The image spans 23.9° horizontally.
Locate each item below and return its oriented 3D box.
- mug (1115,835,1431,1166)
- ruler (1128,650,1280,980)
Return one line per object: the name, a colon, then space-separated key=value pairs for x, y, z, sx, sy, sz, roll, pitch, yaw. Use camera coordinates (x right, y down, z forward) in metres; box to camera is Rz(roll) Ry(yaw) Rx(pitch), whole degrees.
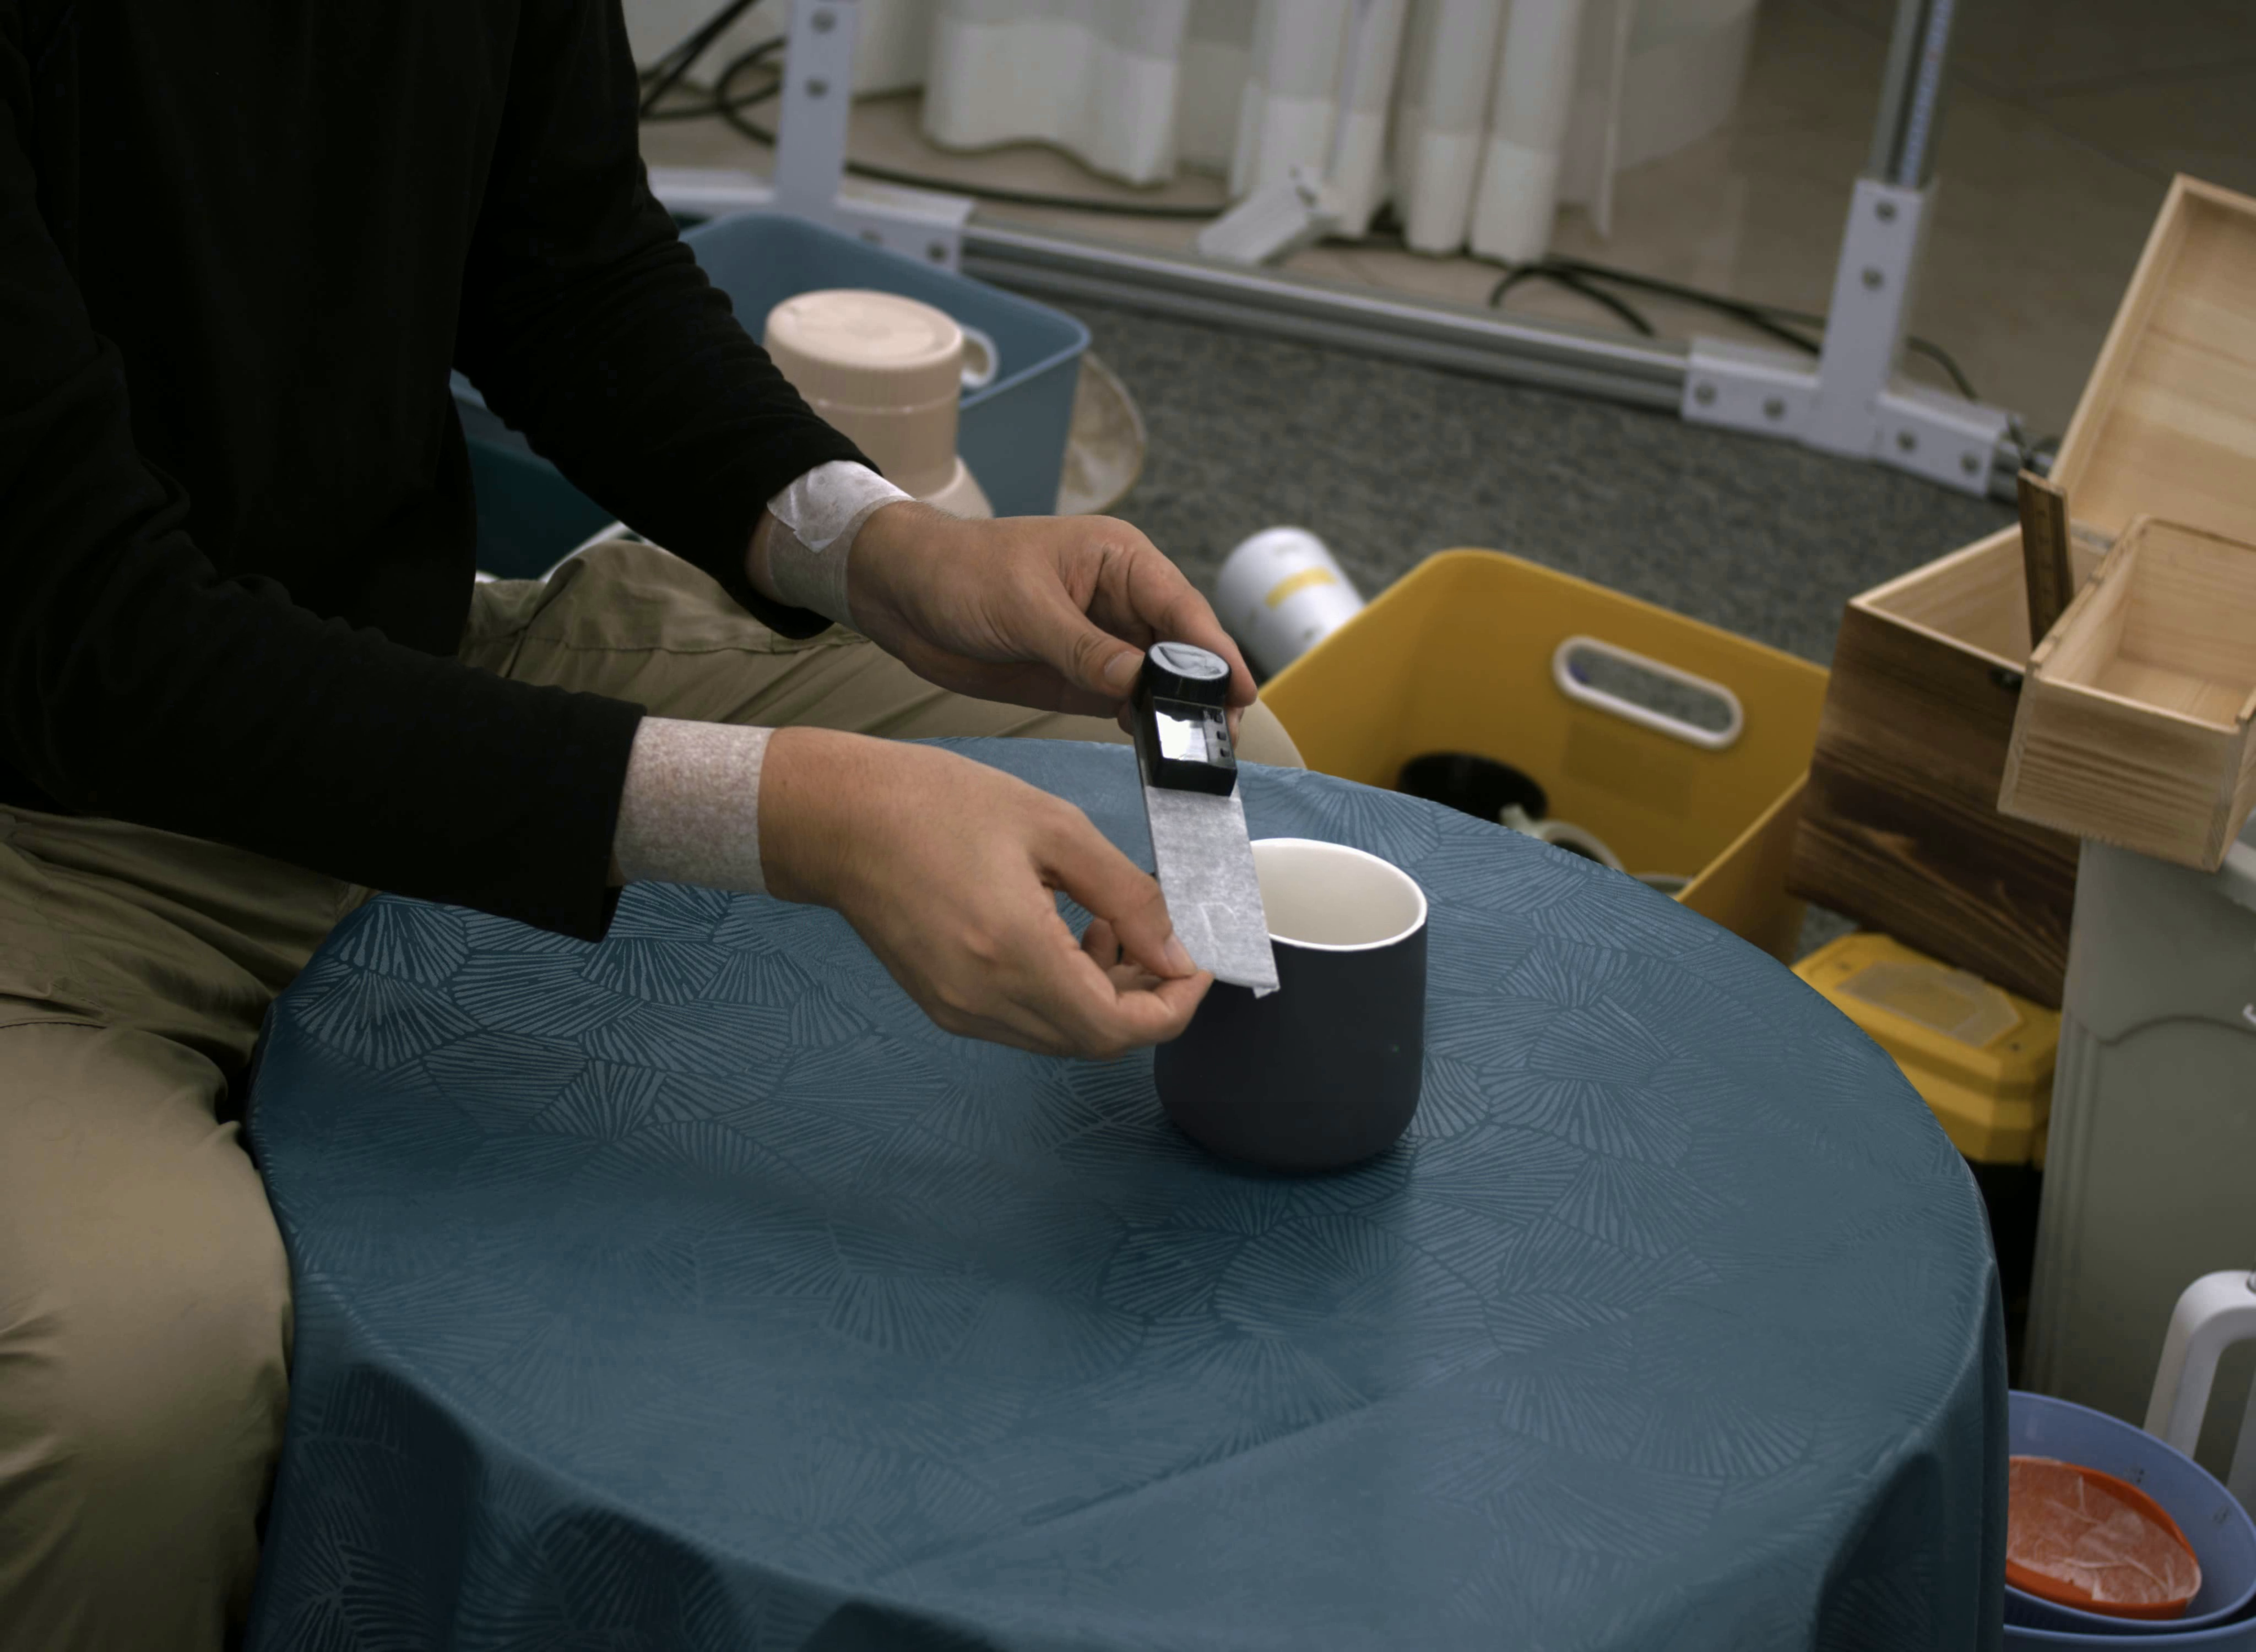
mug: x=0.047 y=0.055 z=1.844 sx=0.124 sy=0.089 sz=0.093 roll=26 pitch=31 yaw=31
ruler: x=0.025 y=-0.007 z=1.835 sx=0.038 sy=0.024 sz=0.219 roll=3 pitch=25 yaw=-6
